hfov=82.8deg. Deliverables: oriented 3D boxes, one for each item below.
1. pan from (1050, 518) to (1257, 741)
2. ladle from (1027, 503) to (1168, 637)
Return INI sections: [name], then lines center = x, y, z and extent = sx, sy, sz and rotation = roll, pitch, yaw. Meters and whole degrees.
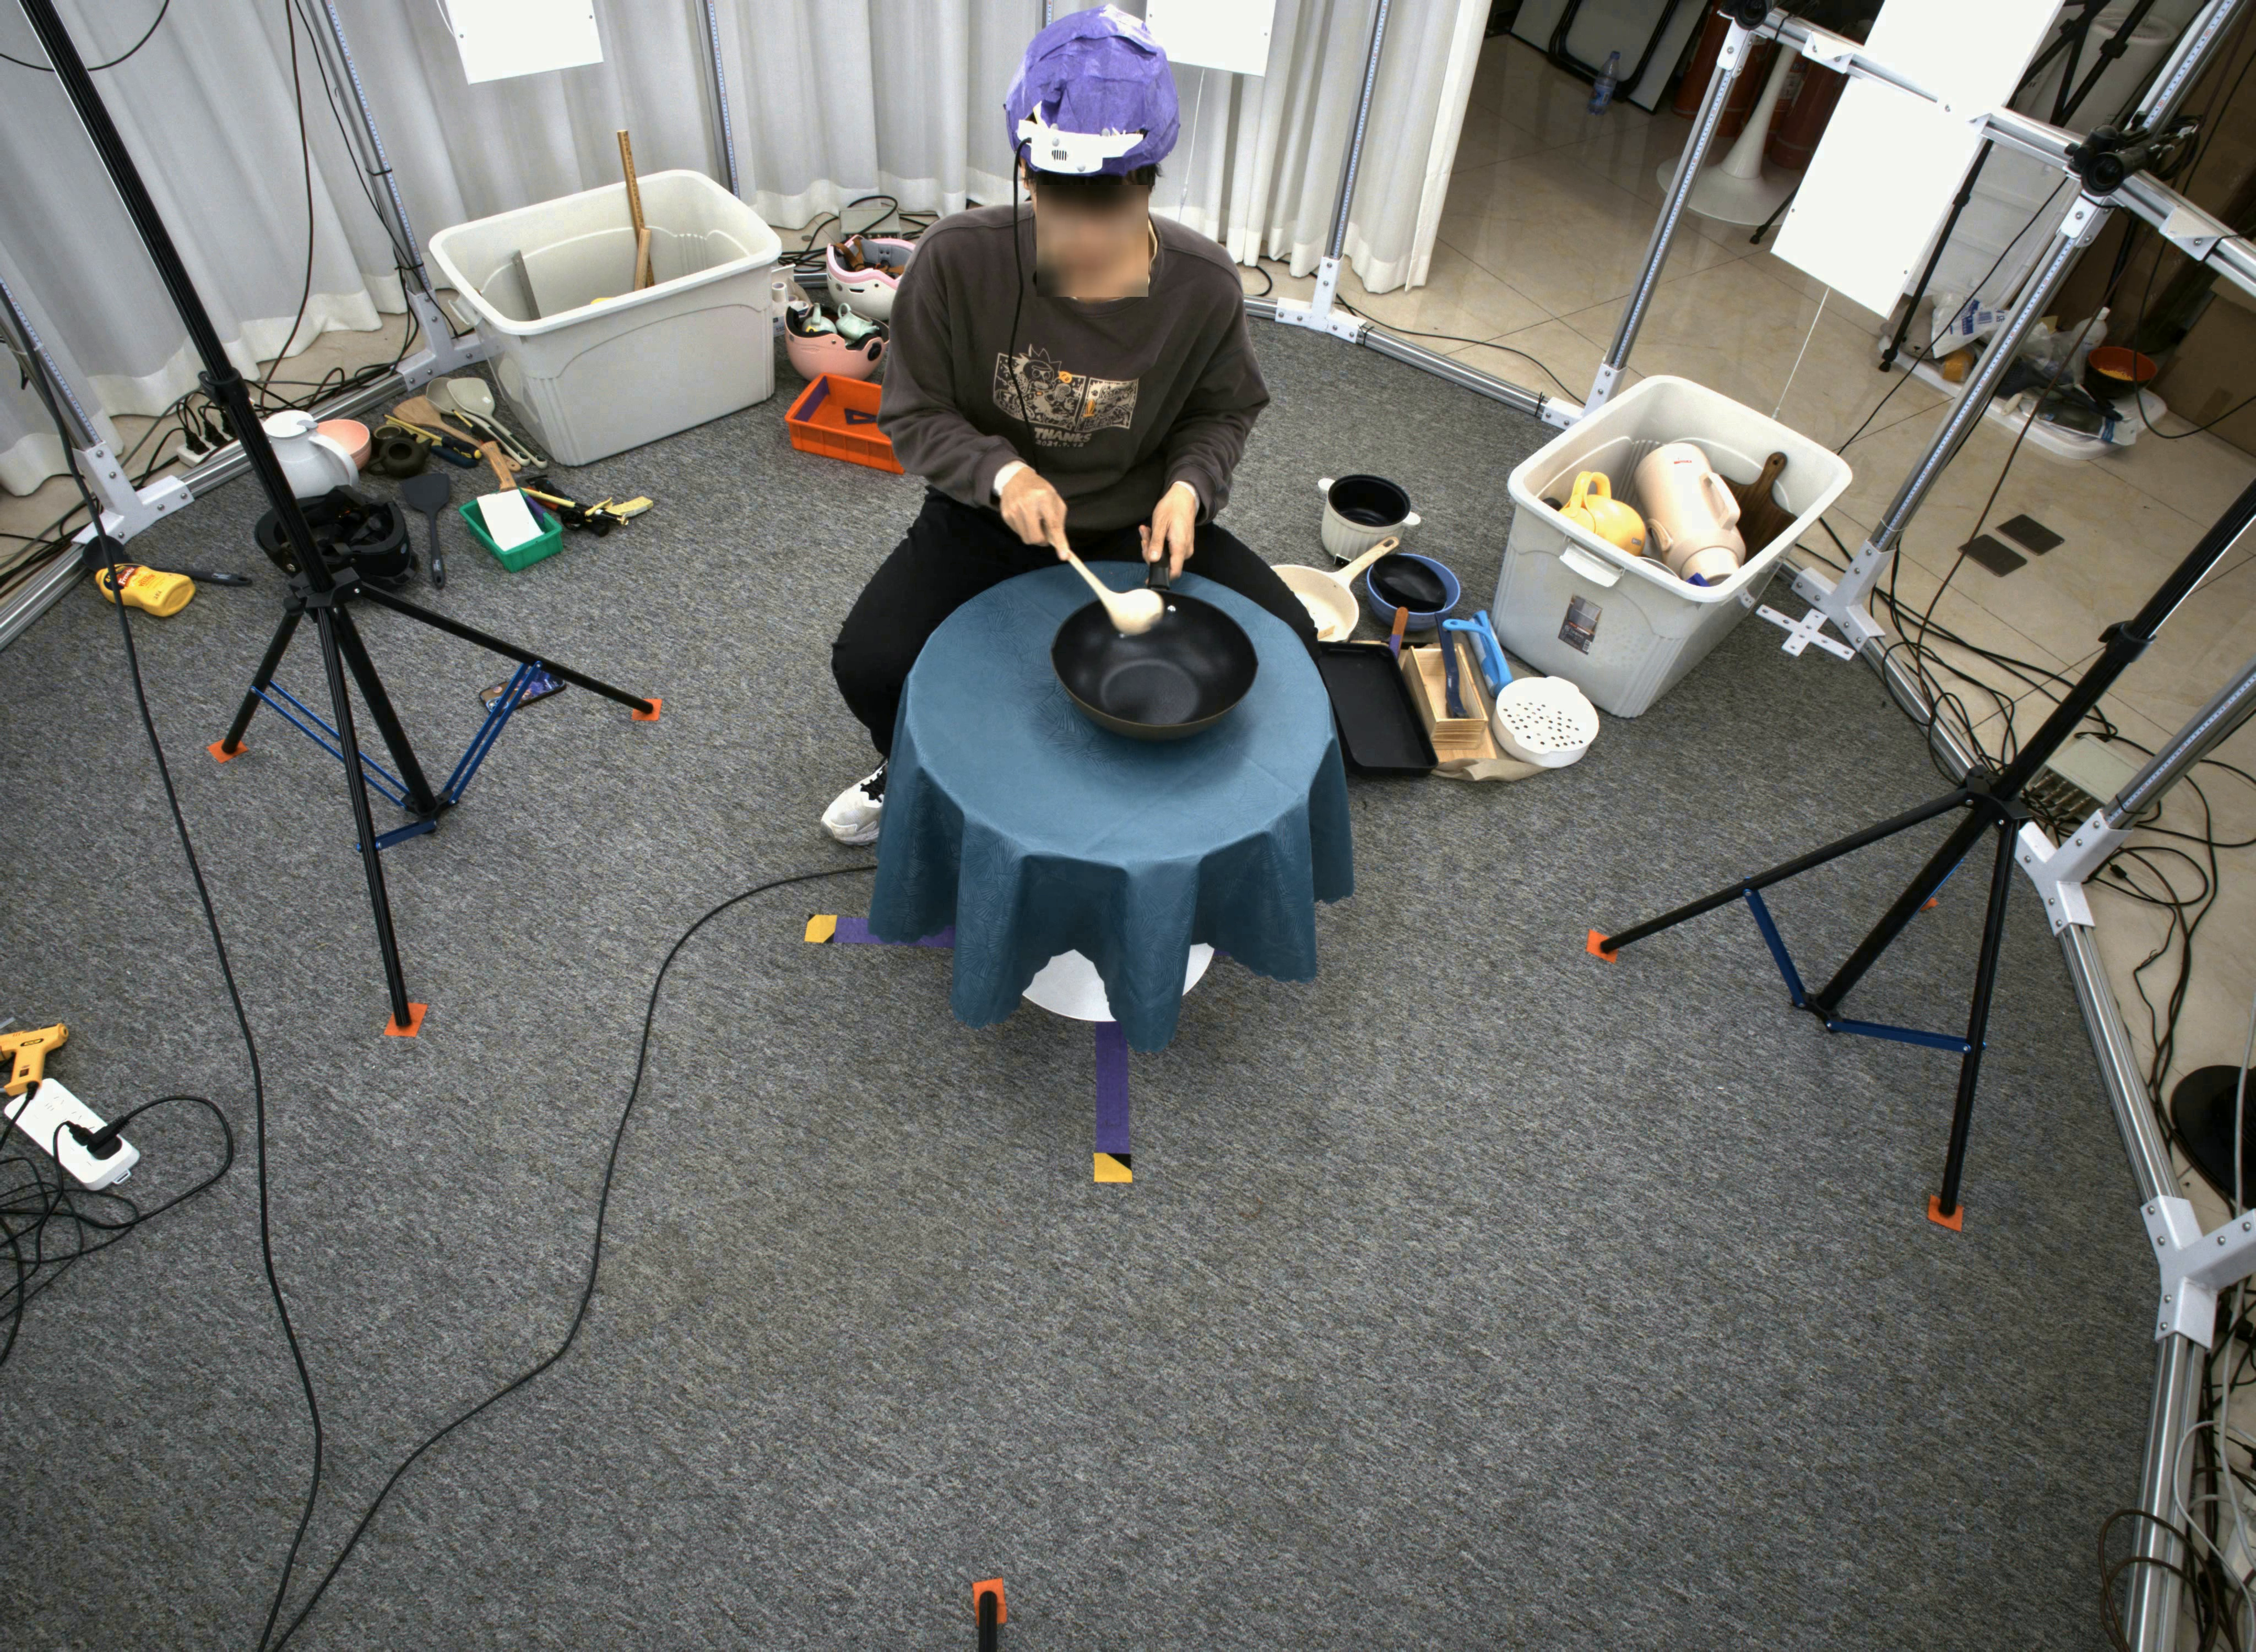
[pan]
center = 0.039, -0.280, 1.859
extent = 0.288, 0.085, 0.475
rotation = 4, 47, 0
[ladle]
center = -0.041, -0.368, 1.811
extent = 0.073, 0.071, 0.258
rotation = -16, 59, -49
